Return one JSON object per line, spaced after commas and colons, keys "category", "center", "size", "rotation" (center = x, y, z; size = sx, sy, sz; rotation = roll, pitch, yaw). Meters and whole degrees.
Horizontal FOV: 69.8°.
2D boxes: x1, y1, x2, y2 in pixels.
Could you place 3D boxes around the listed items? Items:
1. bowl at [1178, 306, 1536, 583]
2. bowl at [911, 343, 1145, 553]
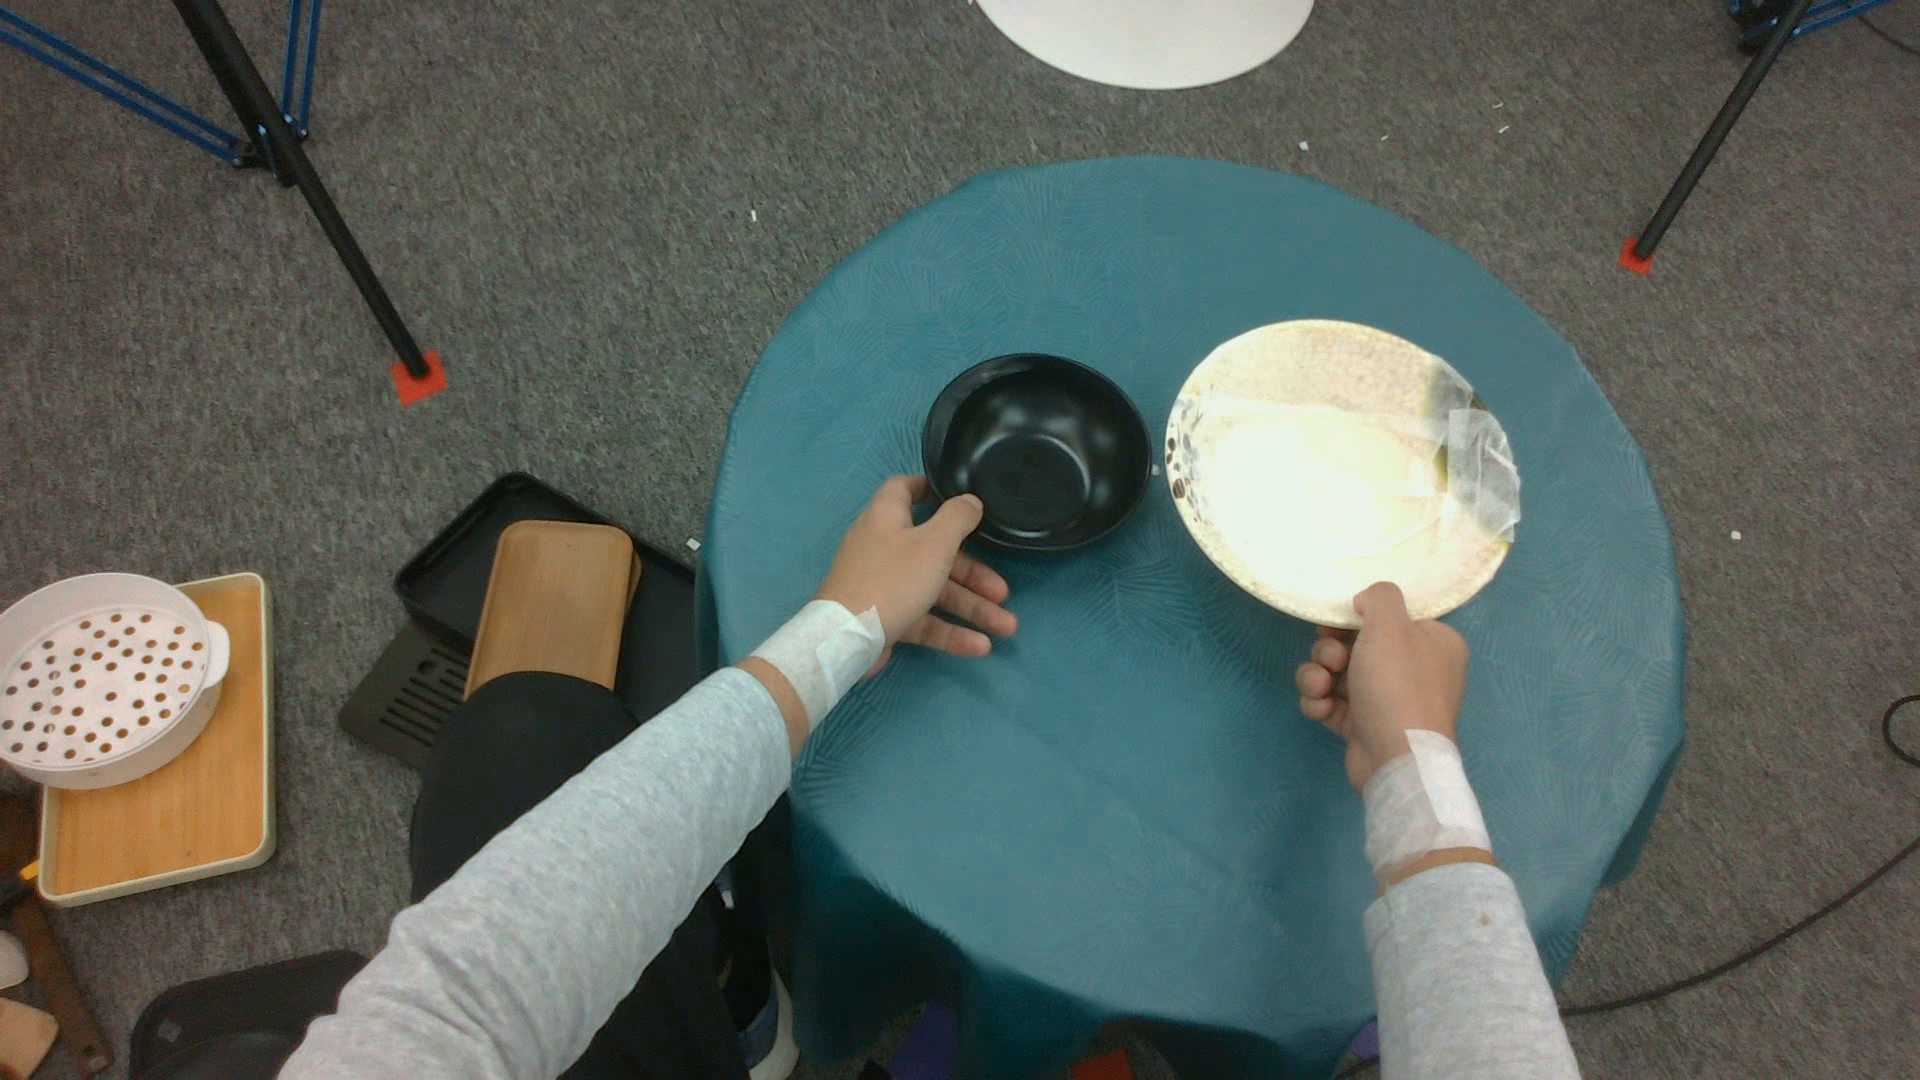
{"category": "bowl", "center": [0.222, -0.040, 0.810], "size": [0.204, 0.077, 0.205], "rotation": [3, 54, -4]}
{"category": "bowl", "center": [0.040, -0.049, 0.836], "size": [0.140, 0.049, 0.140], "rotation": [1, 64, -1]}
